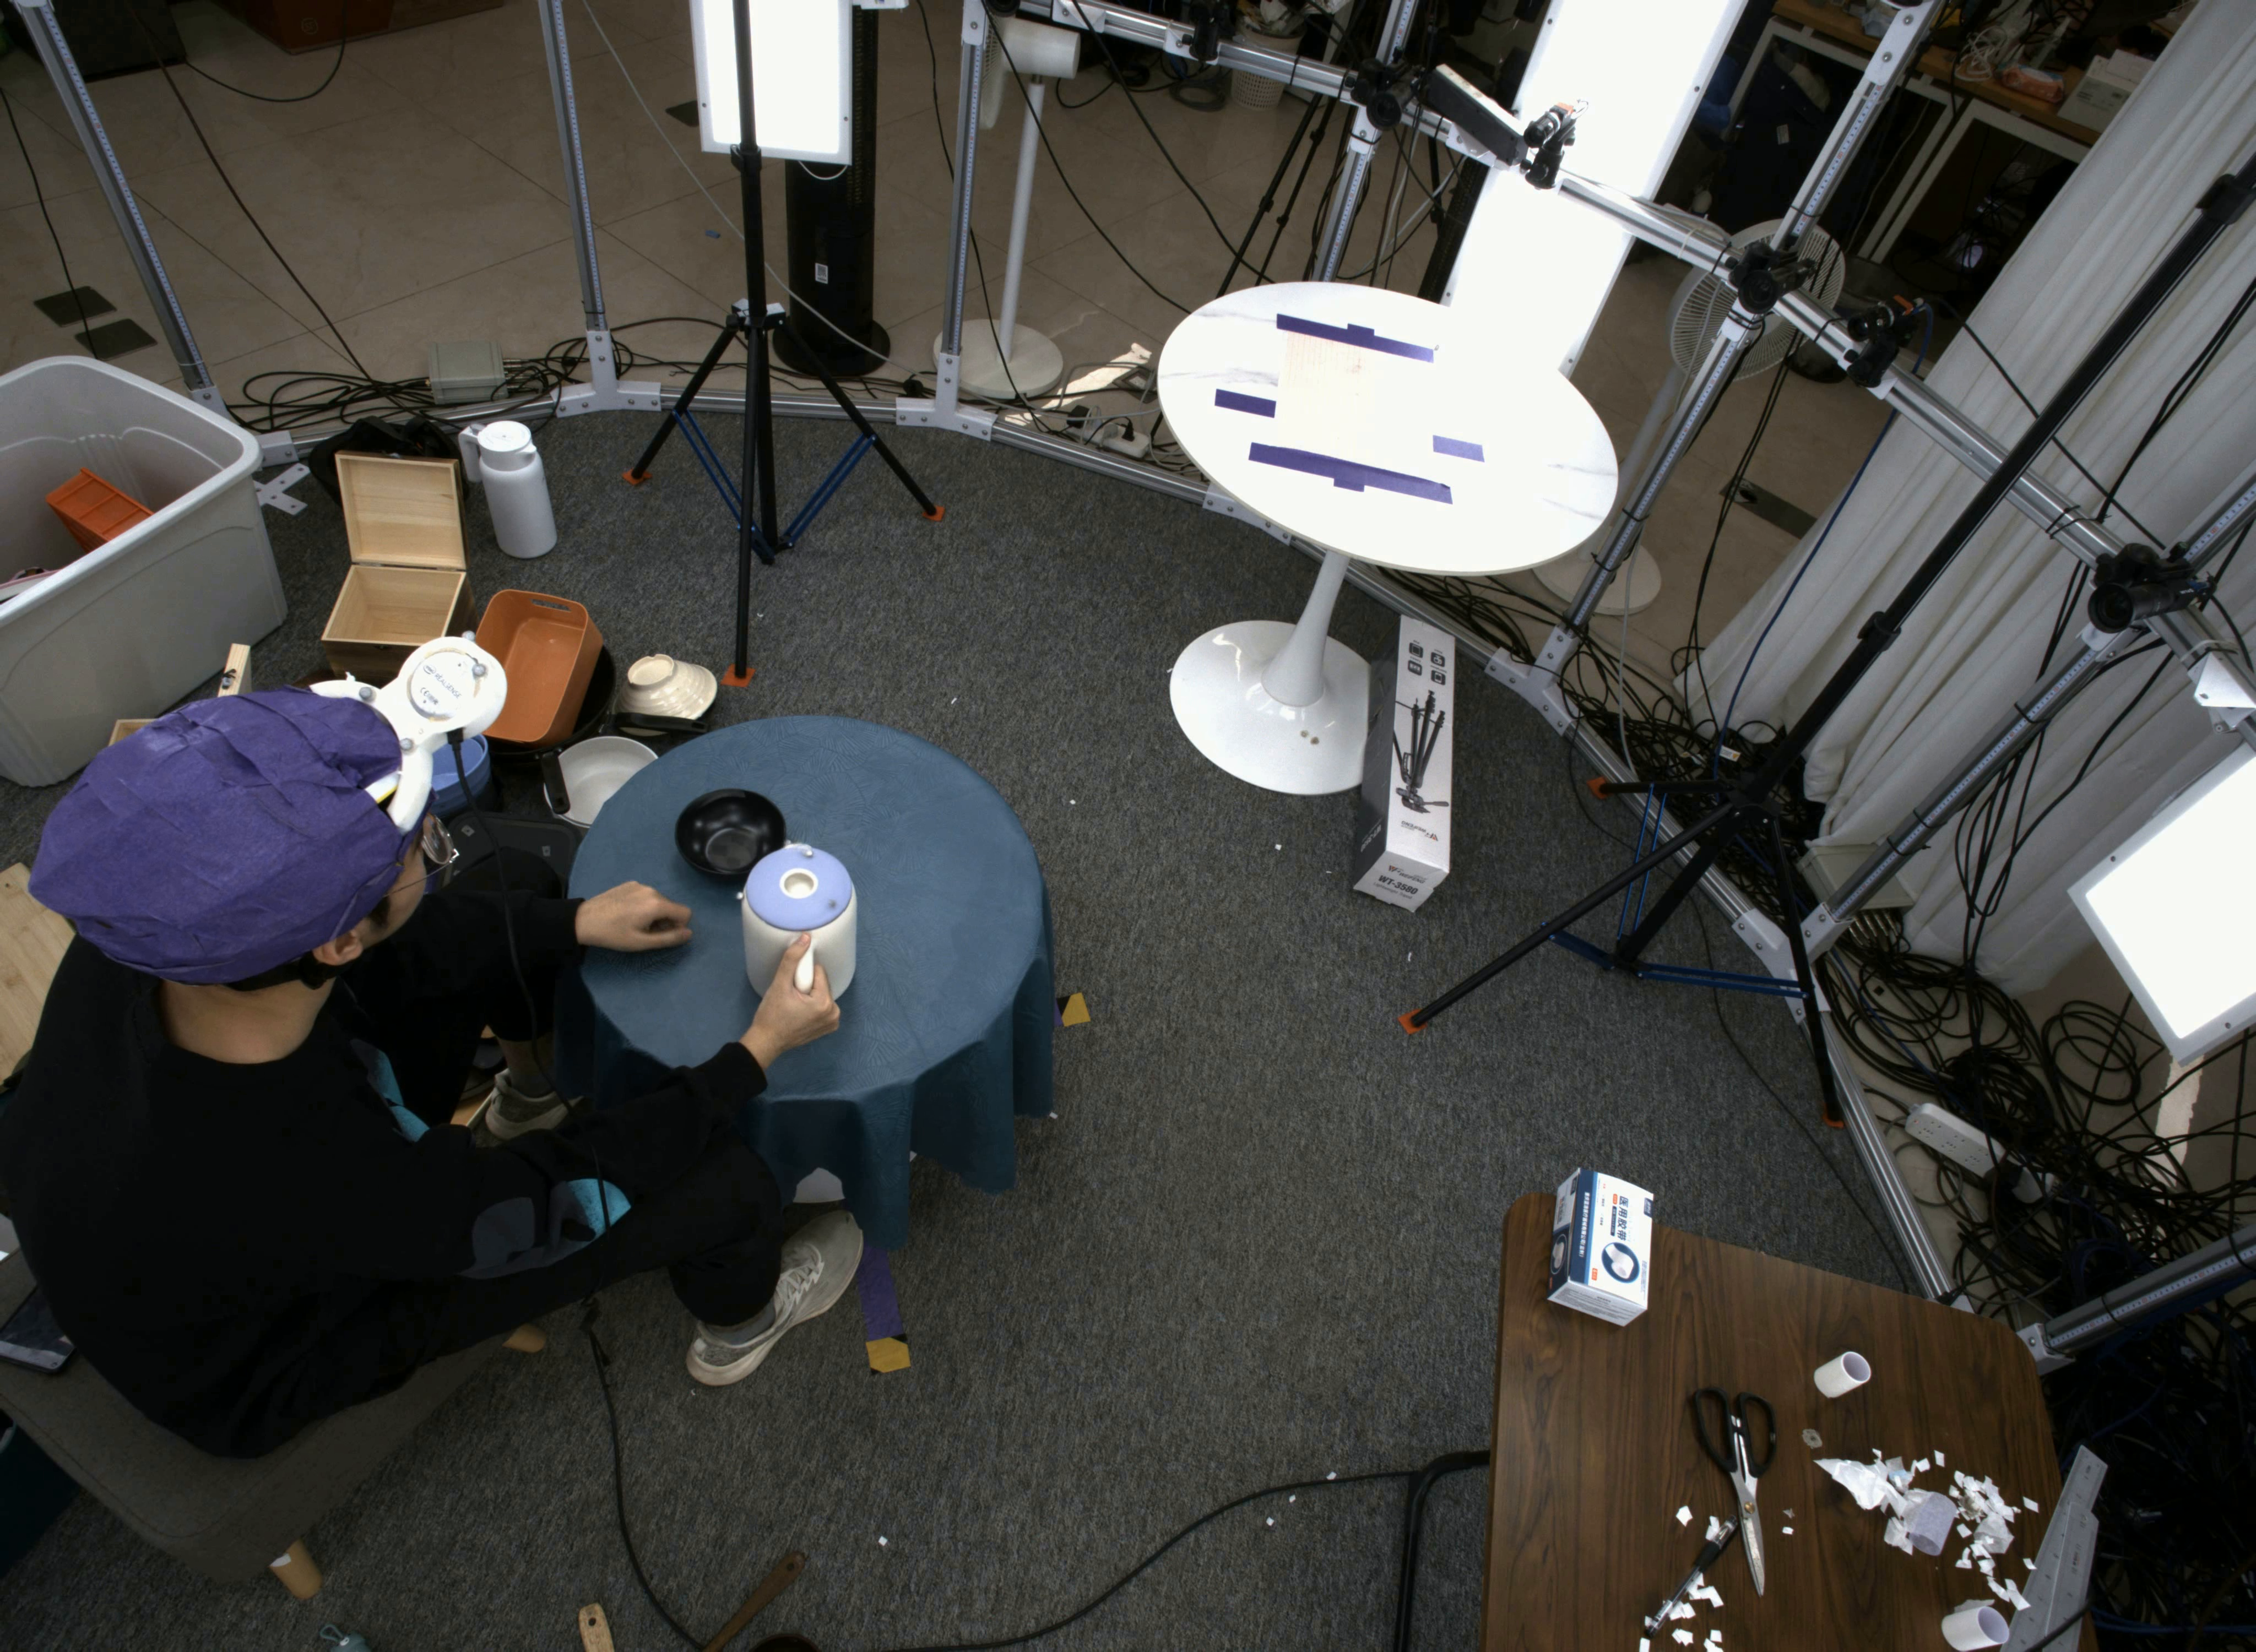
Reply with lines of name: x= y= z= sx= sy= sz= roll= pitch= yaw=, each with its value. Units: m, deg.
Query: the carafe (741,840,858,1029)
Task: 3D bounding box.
carafe: x=-0.383 y=0.139 z=1.525 sx=0.132 sy=0.186 sz=0.187 roll=-5 pitch=56 yaw=-16

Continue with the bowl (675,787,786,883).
bowl: x=-0.510 y=0.019 z=1.662 sx=0.140 sy=0.051 sz=0.137 roll=7 pitch=55 yaw=-9
